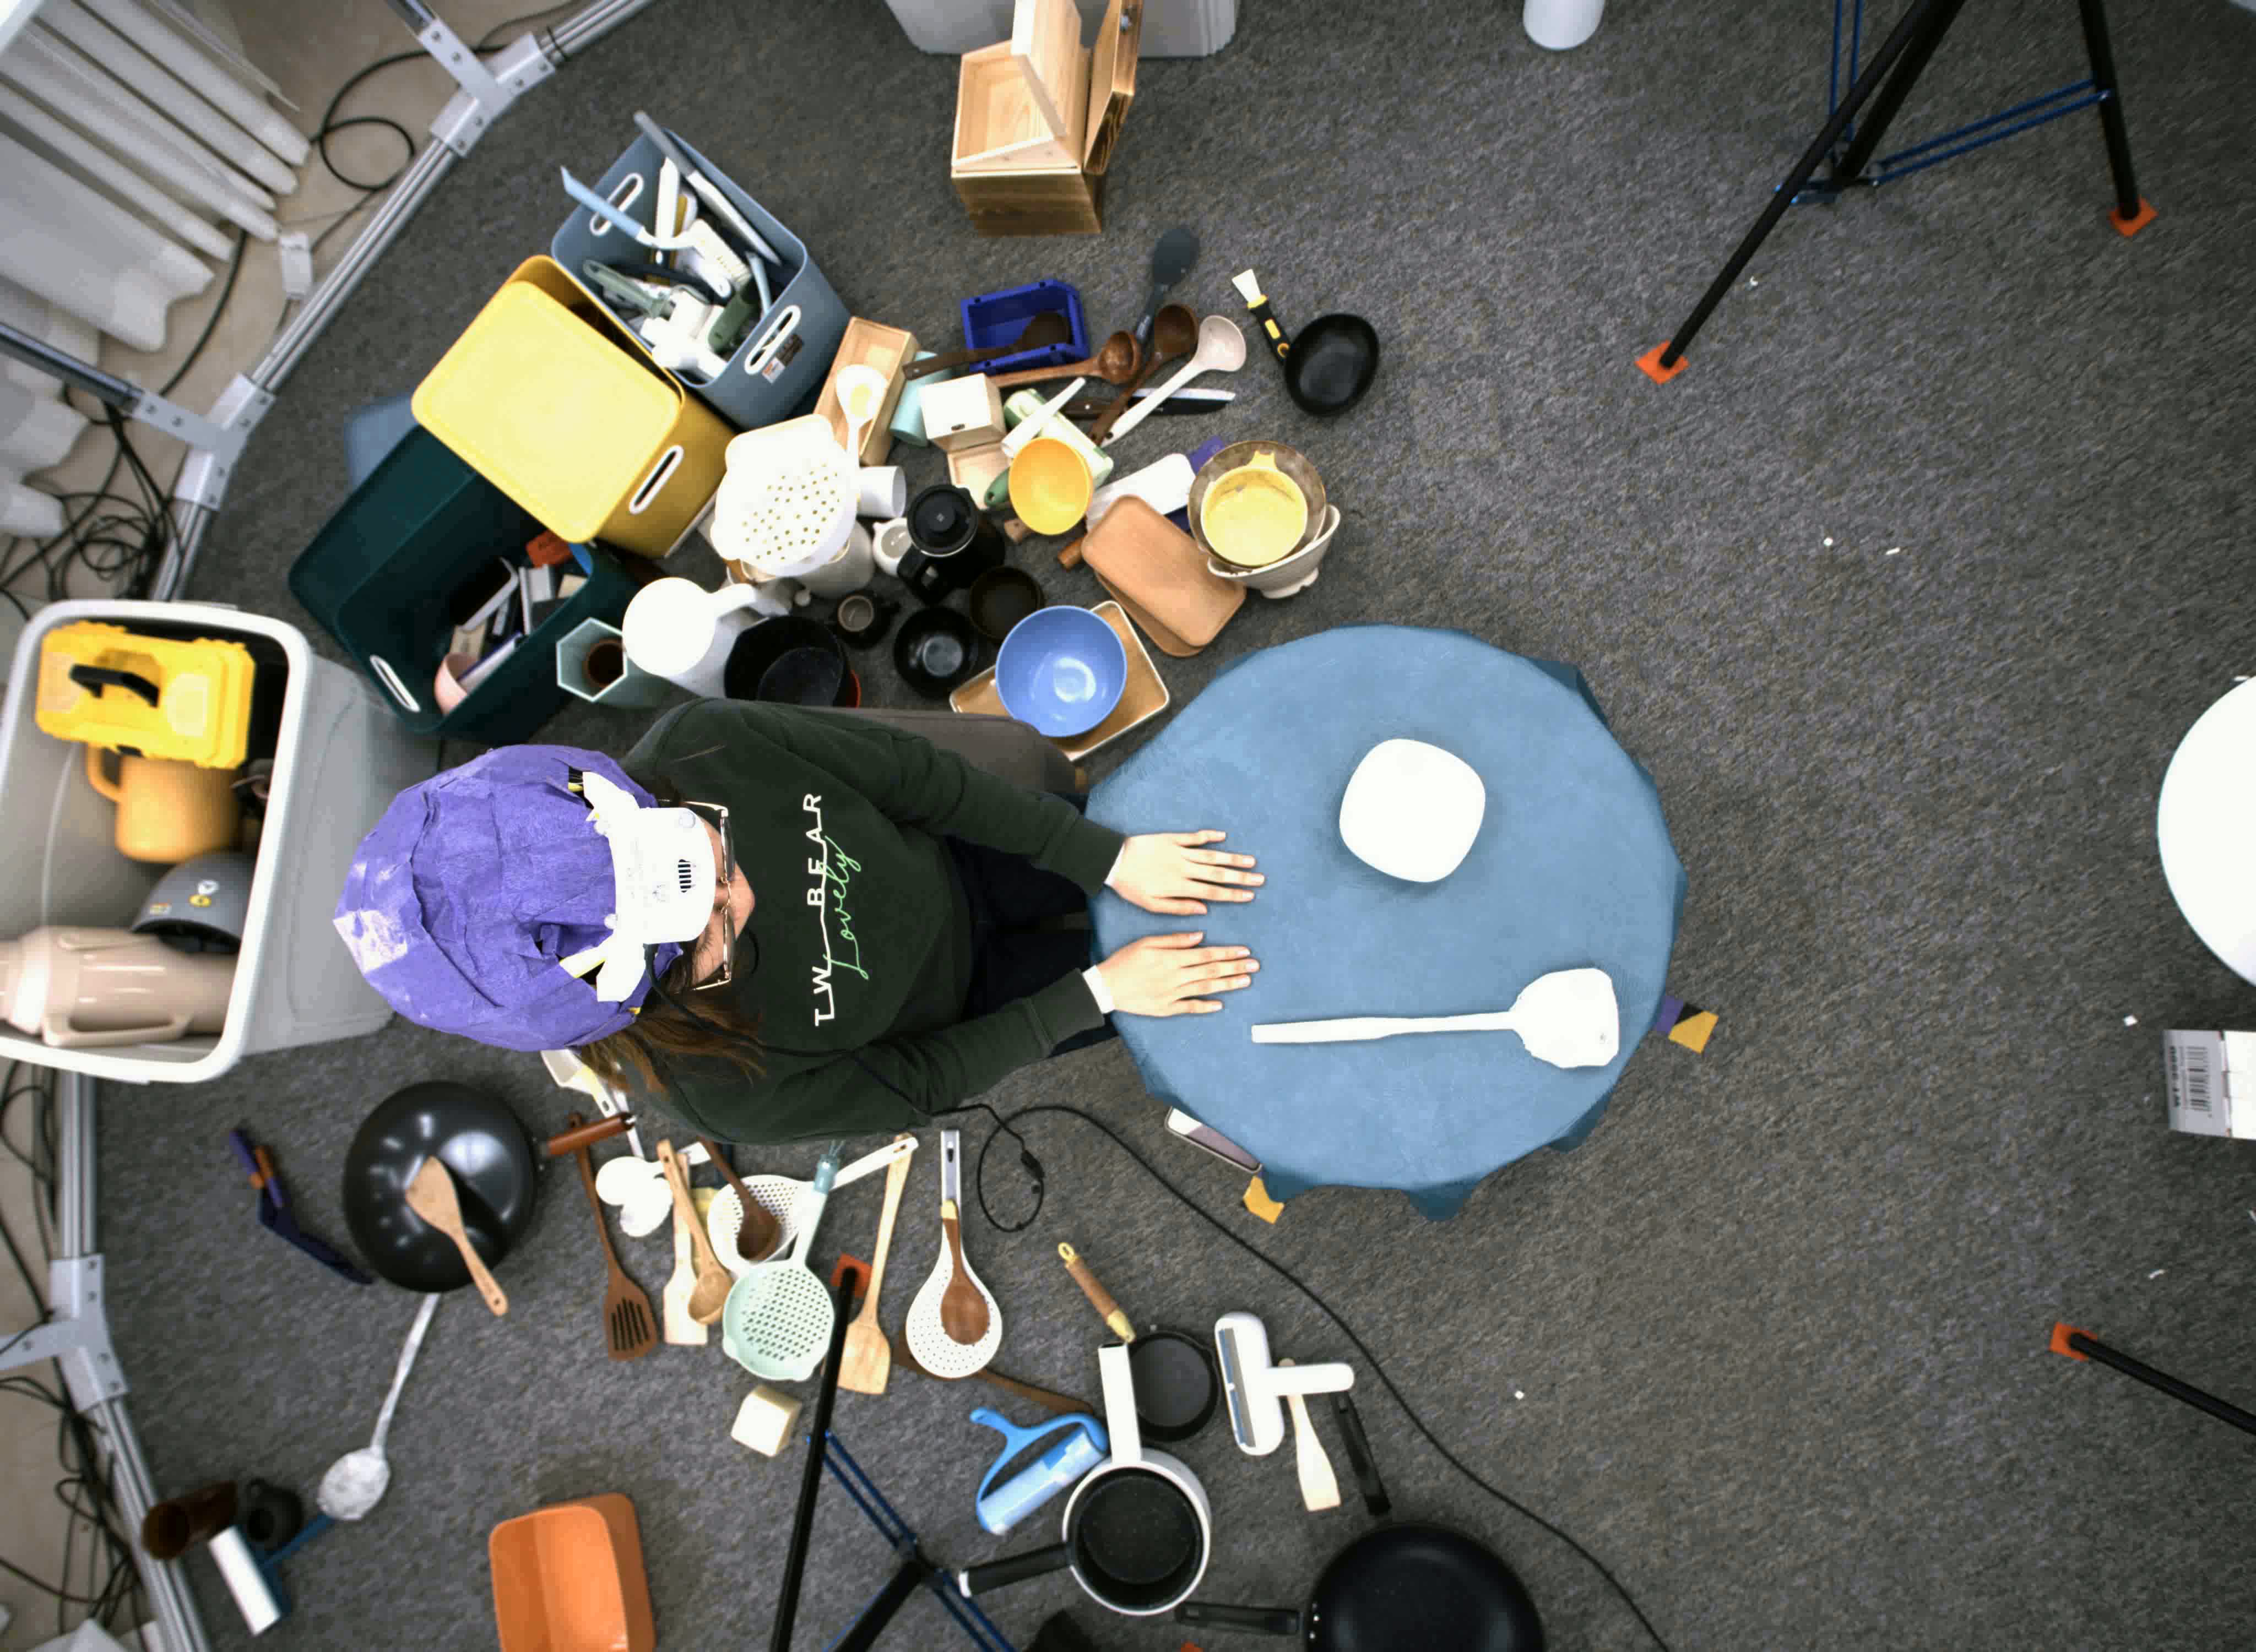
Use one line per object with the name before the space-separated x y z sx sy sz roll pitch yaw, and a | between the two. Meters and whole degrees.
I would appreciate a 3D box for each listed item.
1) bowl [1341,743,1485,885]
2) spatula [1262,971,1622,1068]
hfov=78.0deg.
bowl | 0.295 -0.011 1.438 0.152 0.059 0.150 -1 85 8
spatula | 0.319 0.202 1.427 0.366 0.045 0.098 -3 87 10
